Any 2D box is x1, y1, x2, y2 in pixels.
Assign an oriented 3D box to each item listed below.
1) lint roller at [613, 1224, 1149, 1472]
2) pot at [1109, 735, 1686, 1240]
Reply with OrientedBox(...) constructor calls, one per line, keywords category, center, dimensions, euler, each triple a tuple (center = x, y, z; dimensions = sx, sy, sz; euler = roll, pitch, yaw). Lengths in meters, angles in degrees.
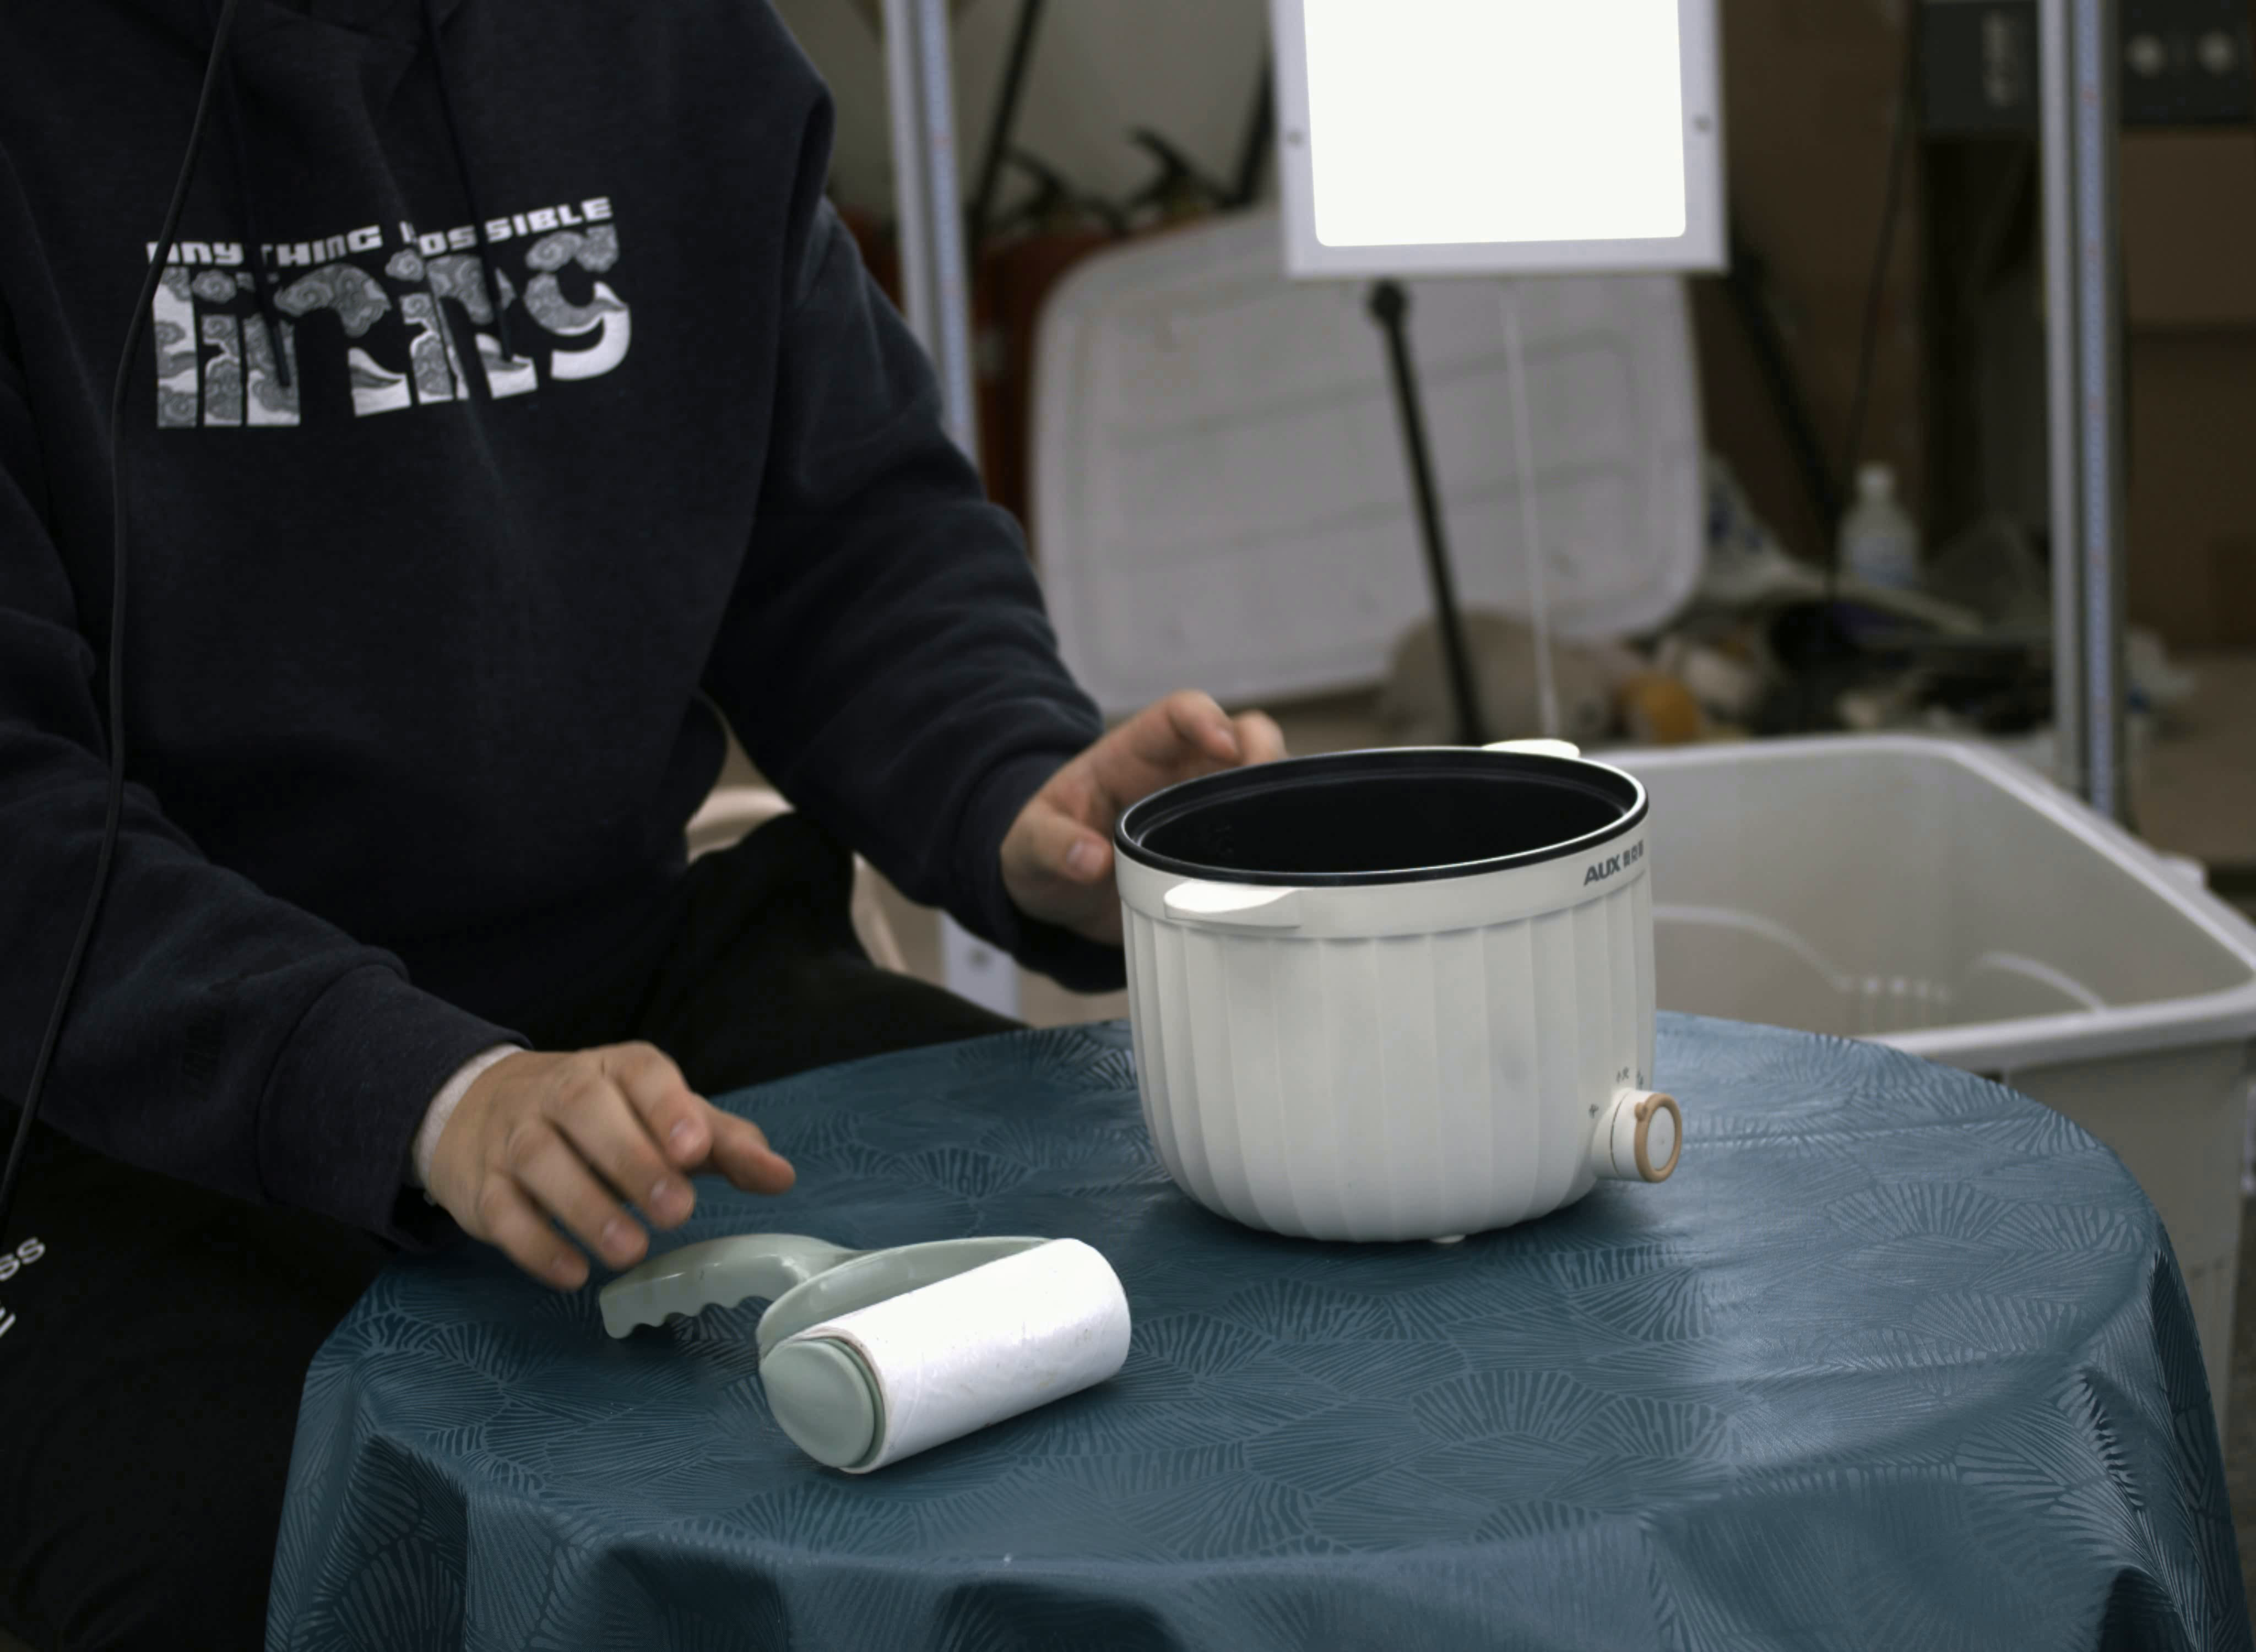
OrientedBox(category="lint roller", center=(-0.095, 0.153, 1.734), dimensions=(0.114, 0.048, 0.202), euler=(-21, 18, -39))
OrientedBox(category="pot", center=(0.095, 0.057, 1.856), dimensions=(0.194, 0.143, 0.235), euler=(1, 16, 34))
